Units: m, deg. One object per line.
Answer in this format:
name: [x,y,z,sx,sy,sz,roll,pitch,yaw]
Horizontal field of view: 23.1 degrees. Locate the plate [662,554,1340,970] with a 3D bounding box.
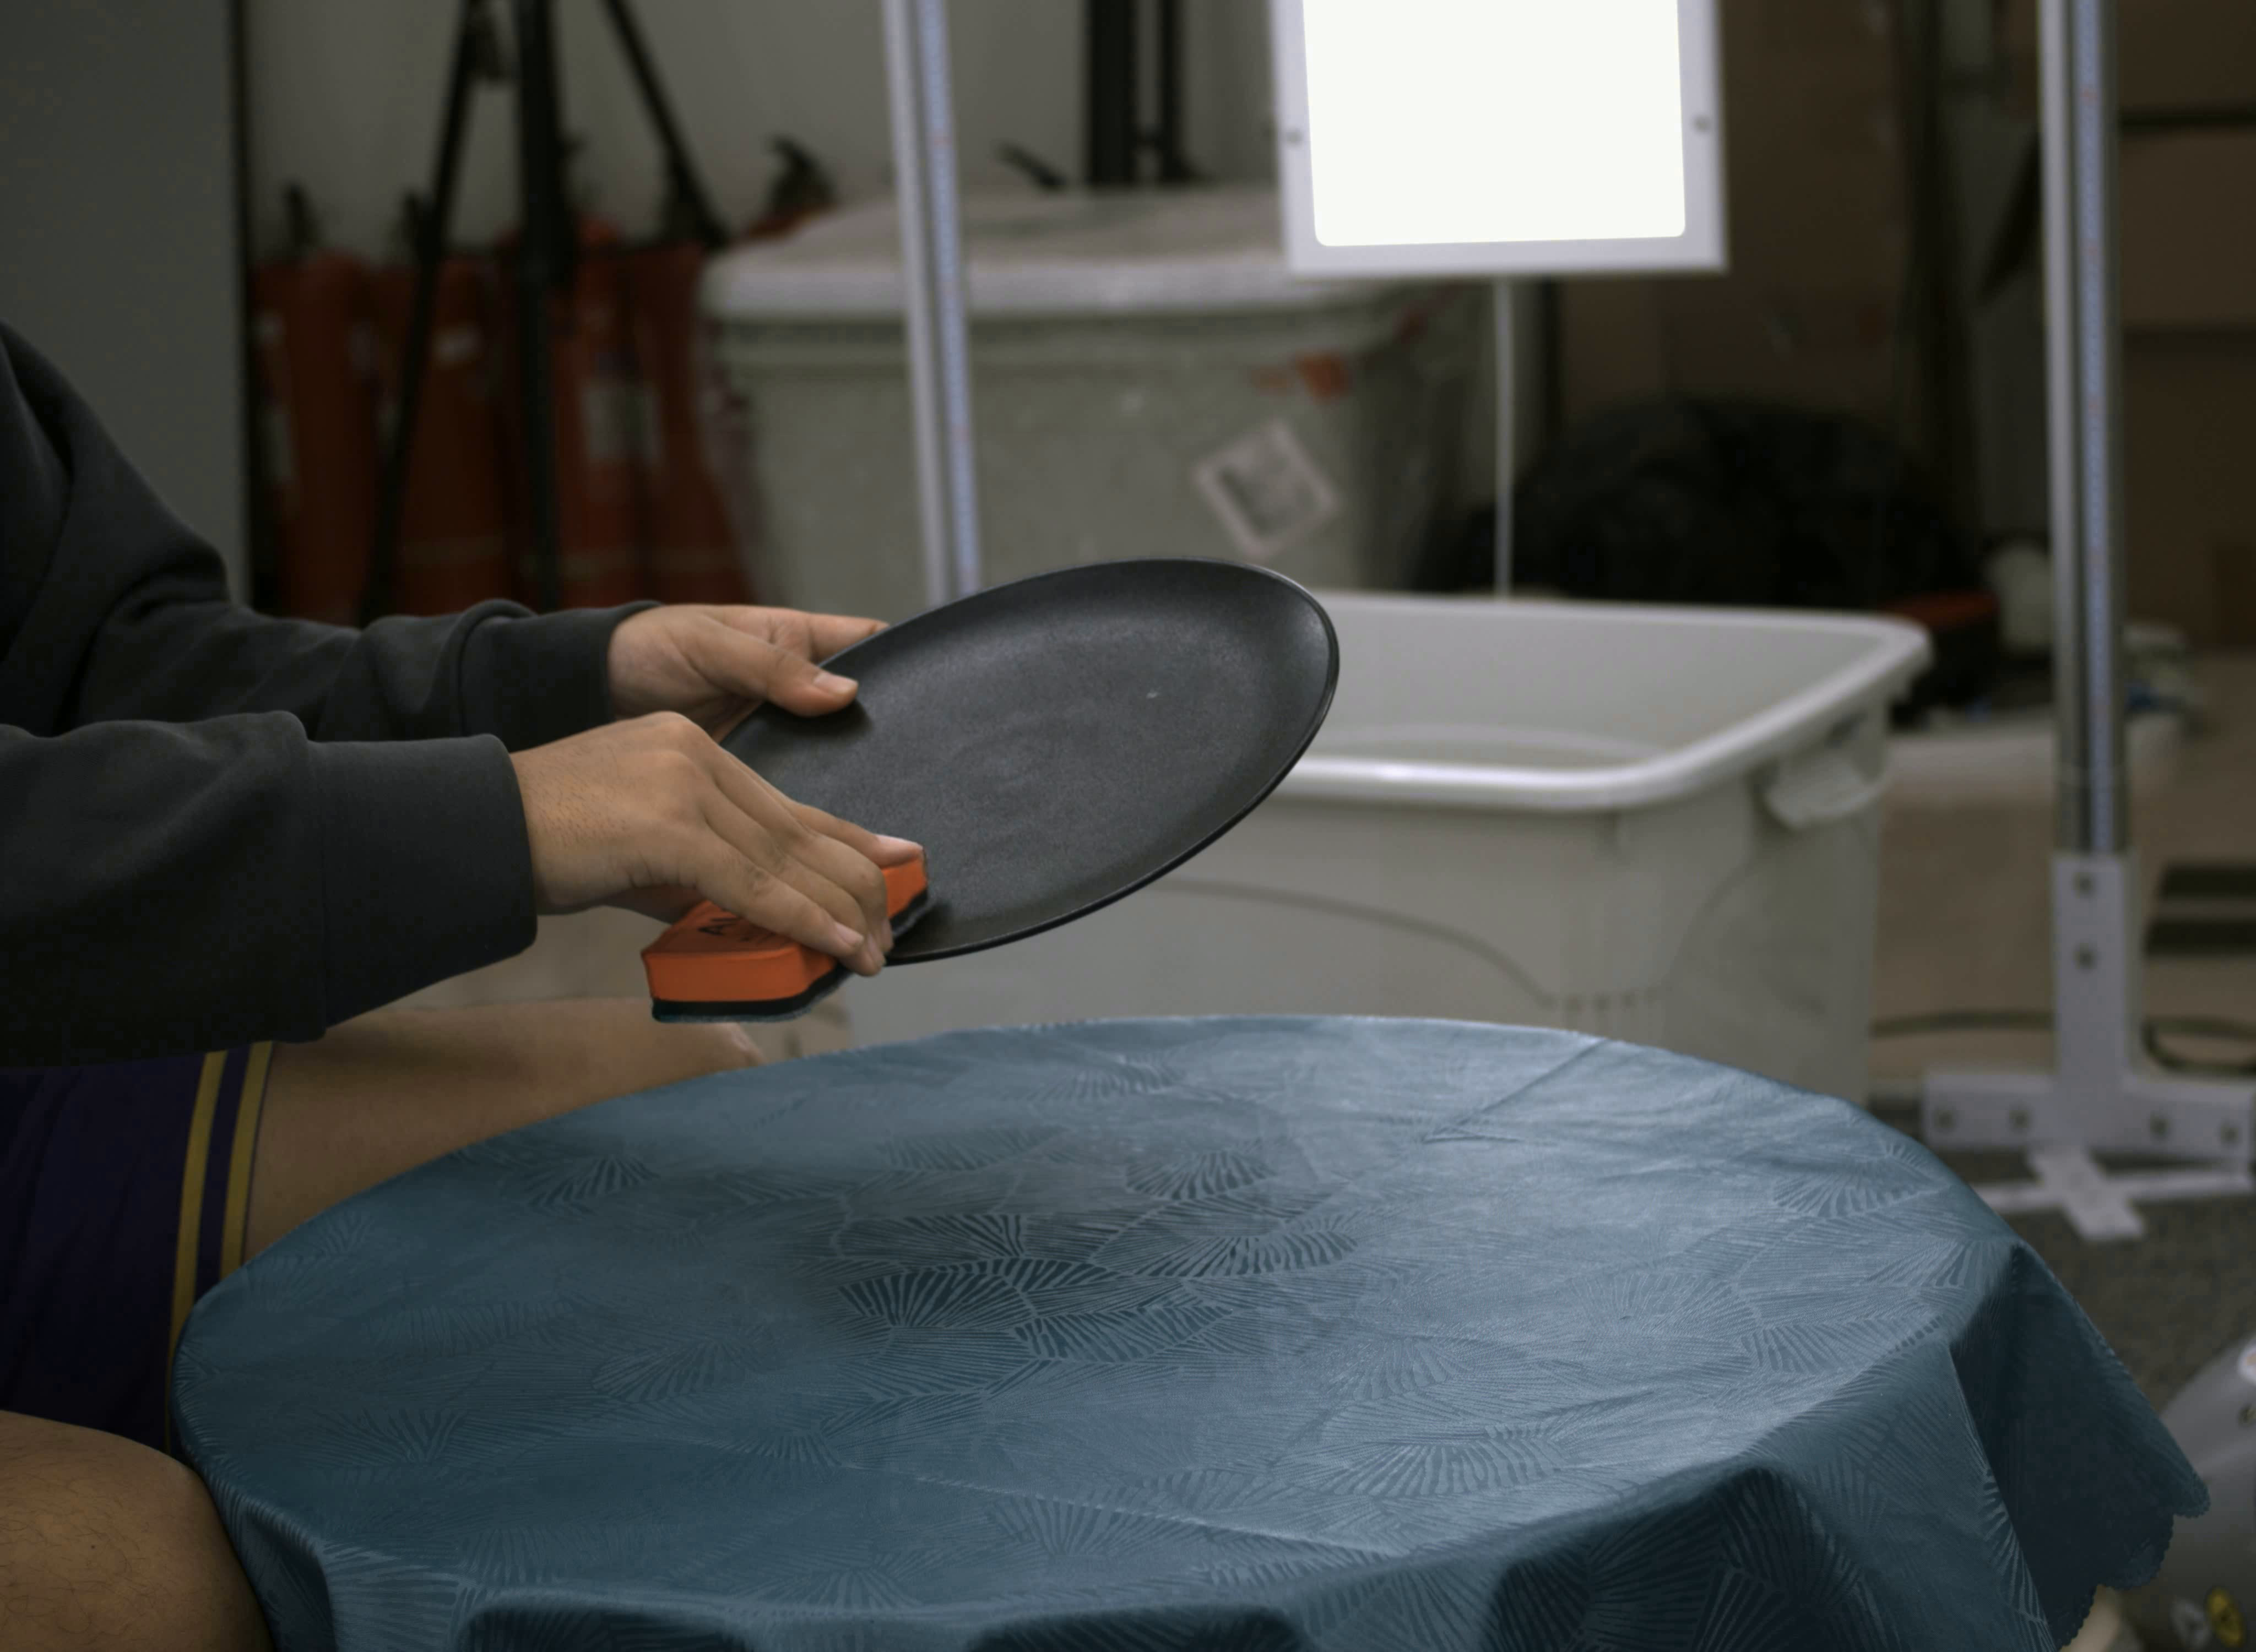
plate: [-0.041,-0.017,1.865,0.245,0.023,0.244,-18,30,9]

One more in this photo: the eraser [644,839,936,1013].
eraser: [-0.108,0.032,1.777,0.060,0.023,0.106,-2,18,27]
